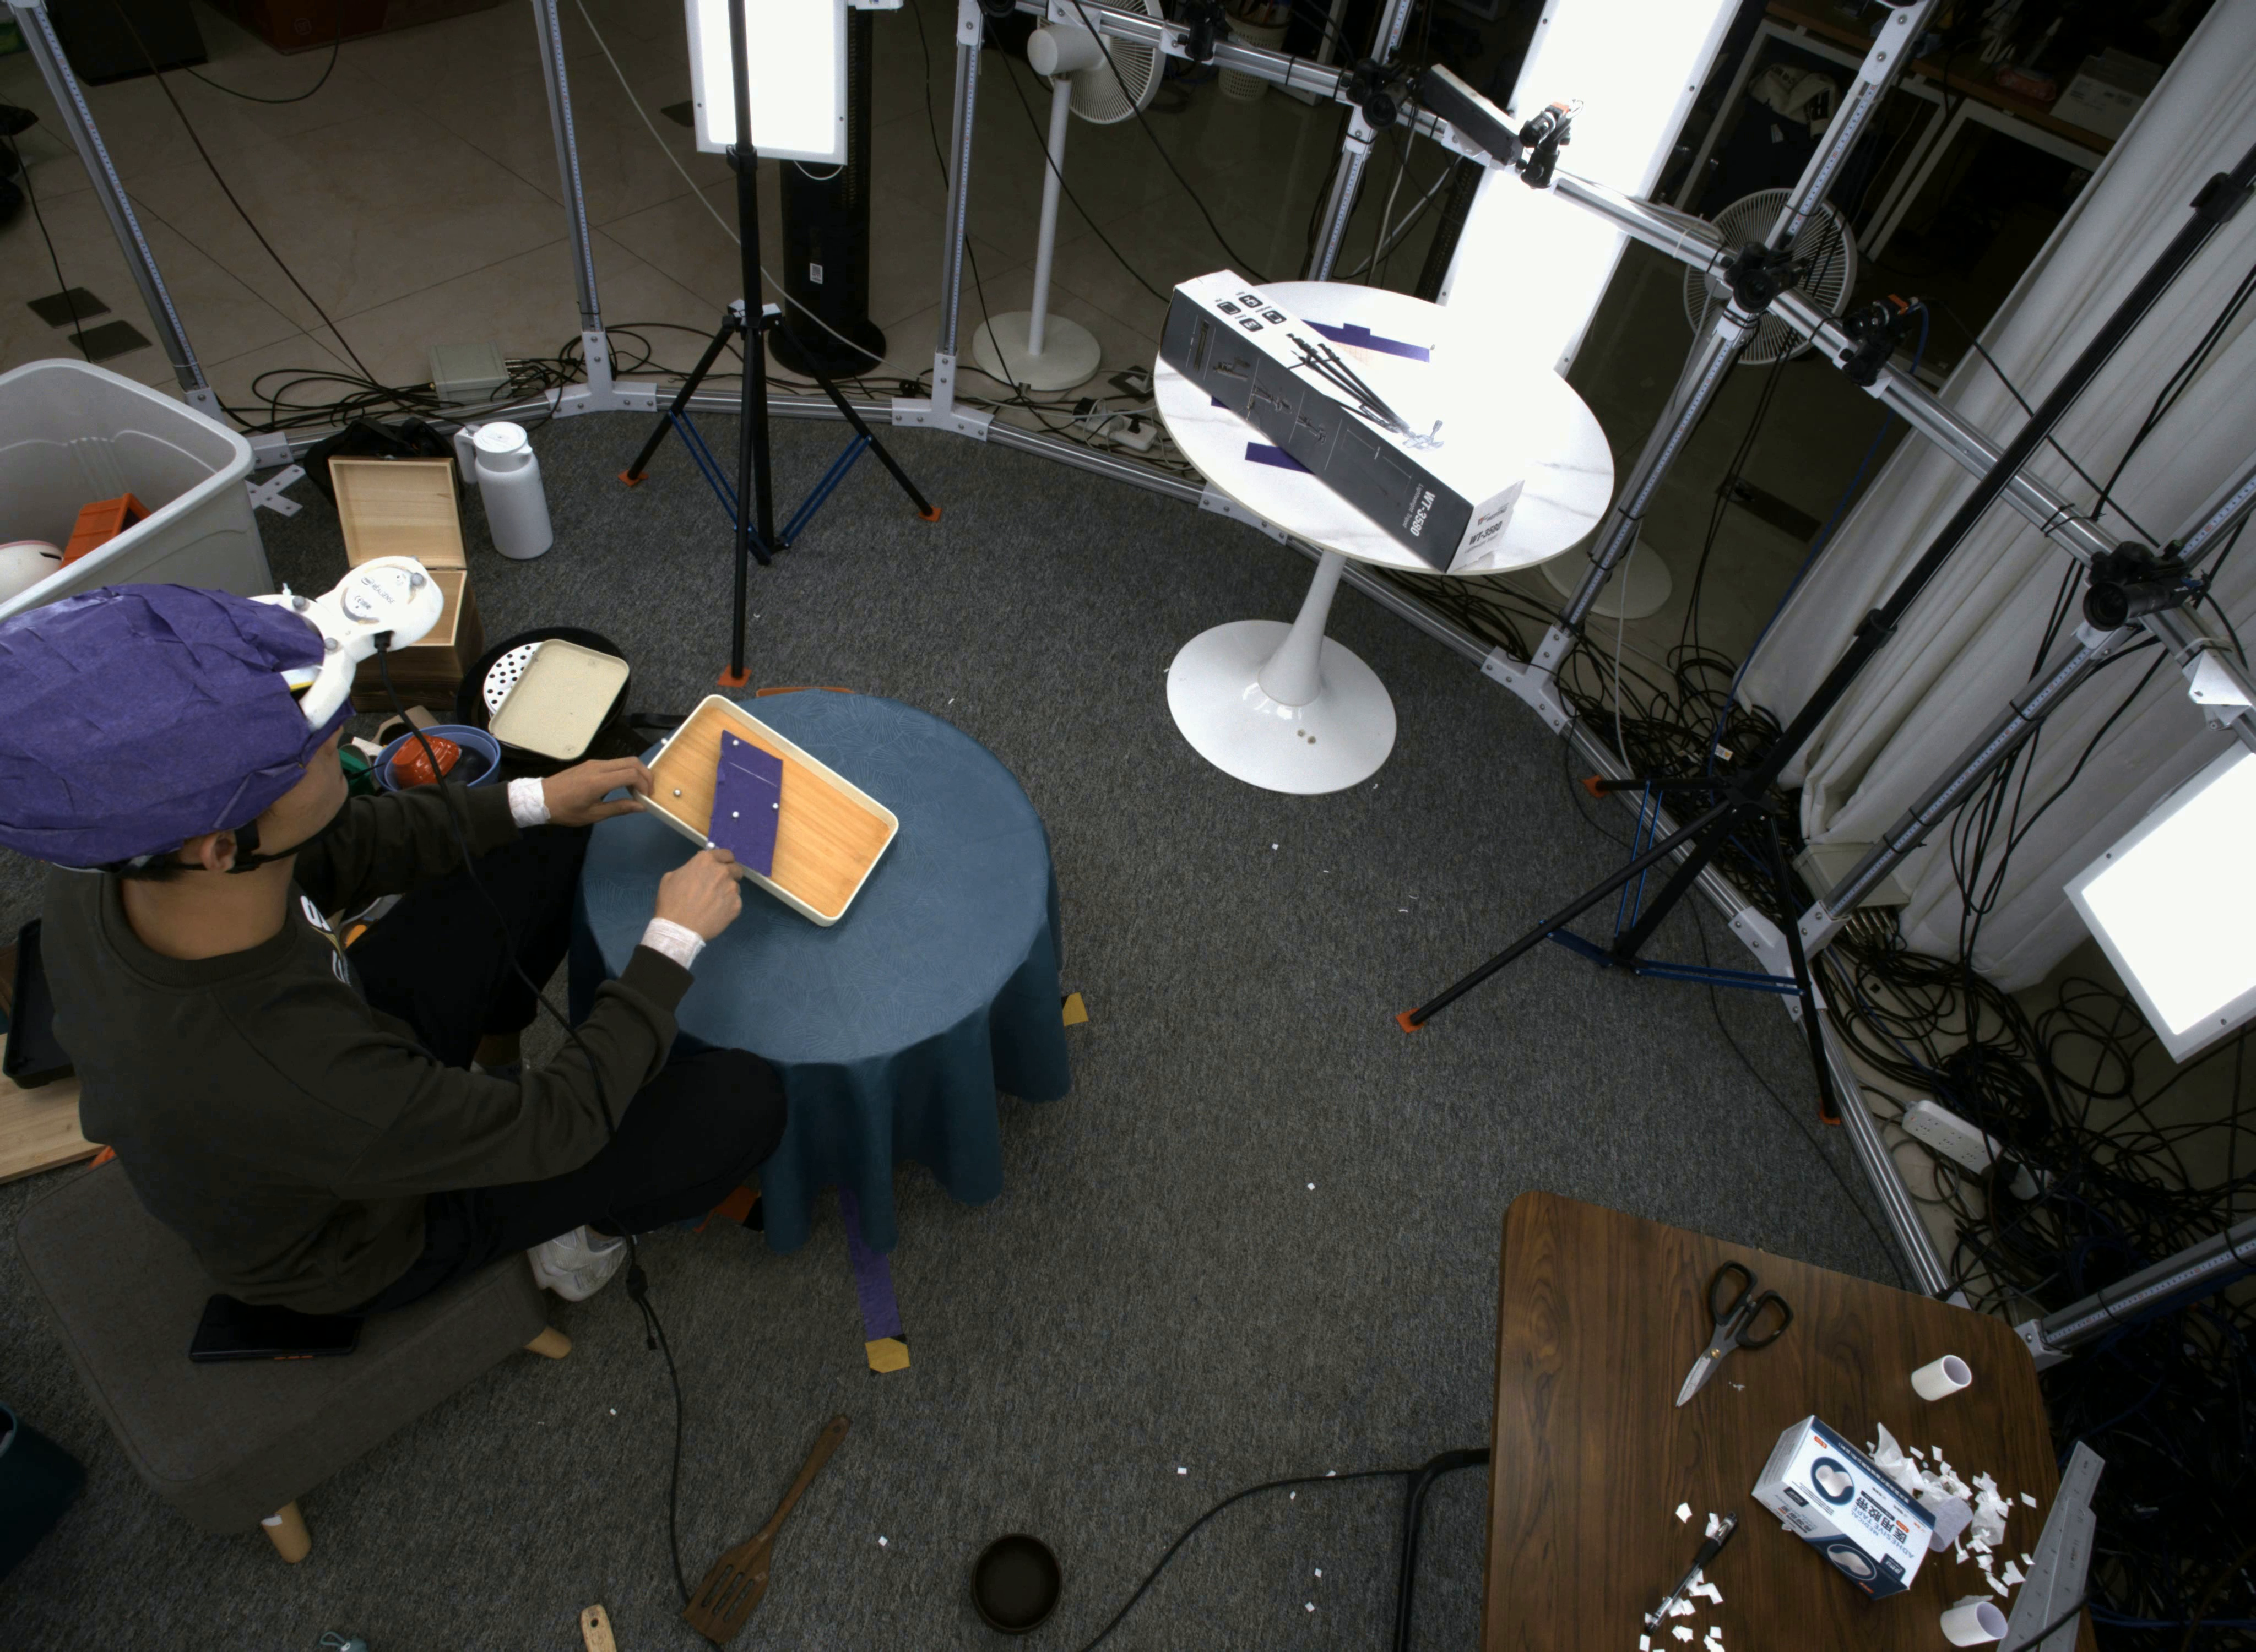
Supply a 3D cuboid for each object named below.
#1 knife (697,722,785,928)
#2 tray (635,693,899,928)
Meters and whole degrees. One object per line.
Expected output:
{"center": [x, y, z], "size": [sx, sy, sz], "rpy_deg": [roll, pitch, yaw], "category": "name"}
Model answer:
{"center": [-0.469, 0.001, 1.576], "size": [0.107, 0.032, 0.308], "rpy_deg": [30, 38, -37], "category": "knife"}
{"center": [-0.458, -0.022, 1.659], "size": [0.304, 0.027, 0.190], "rpy_deg": [36, 51, -14], "category": "tray"}
